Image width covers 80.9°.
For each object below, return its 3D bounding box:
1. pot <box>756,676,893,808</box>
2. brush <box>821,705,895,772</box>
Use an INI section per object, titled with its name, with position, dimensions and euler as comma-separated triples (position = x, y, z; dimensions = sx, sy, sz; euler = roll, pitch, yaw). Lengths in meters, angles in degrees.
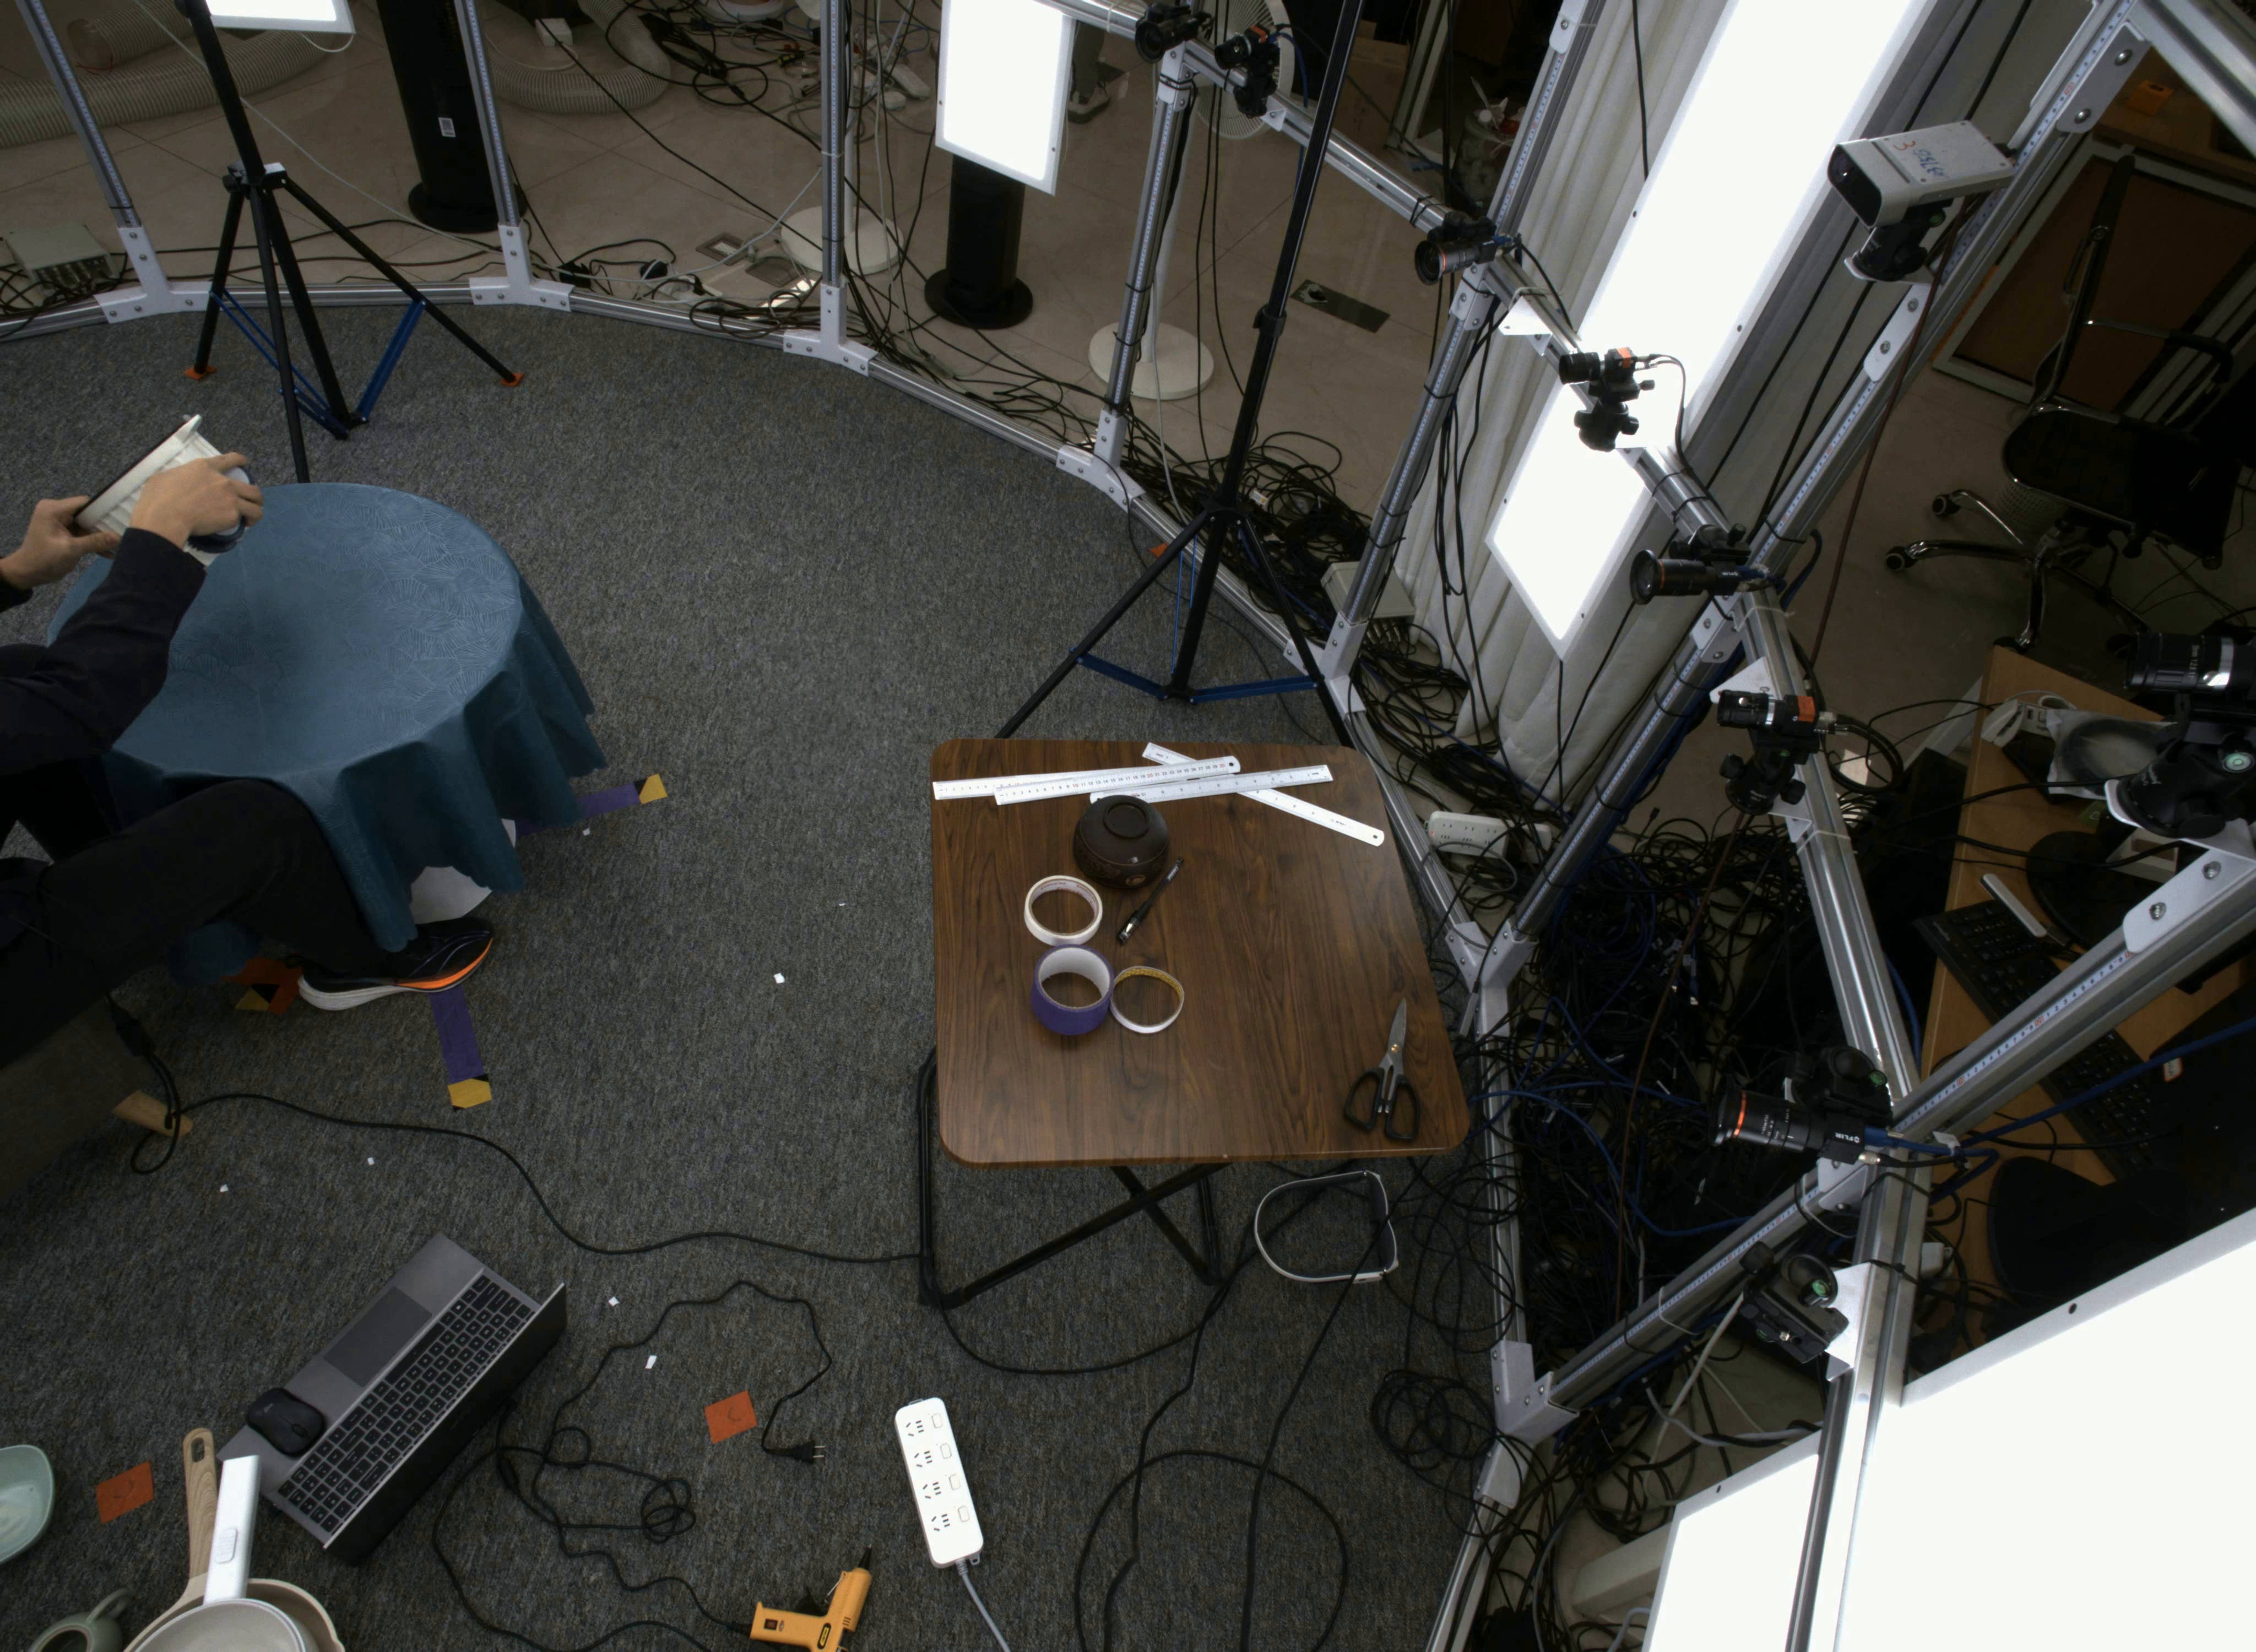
[pot]
position = -0.457, -0.117, 2.008
dimensions = 0.237, 0.143, 0.192
euler = -26, -5, 18
[brush]
position = -0.395, -0.126, 1.888
dimensions = 0.060, 0.069, 0.121
euler = -28, 13, 46
